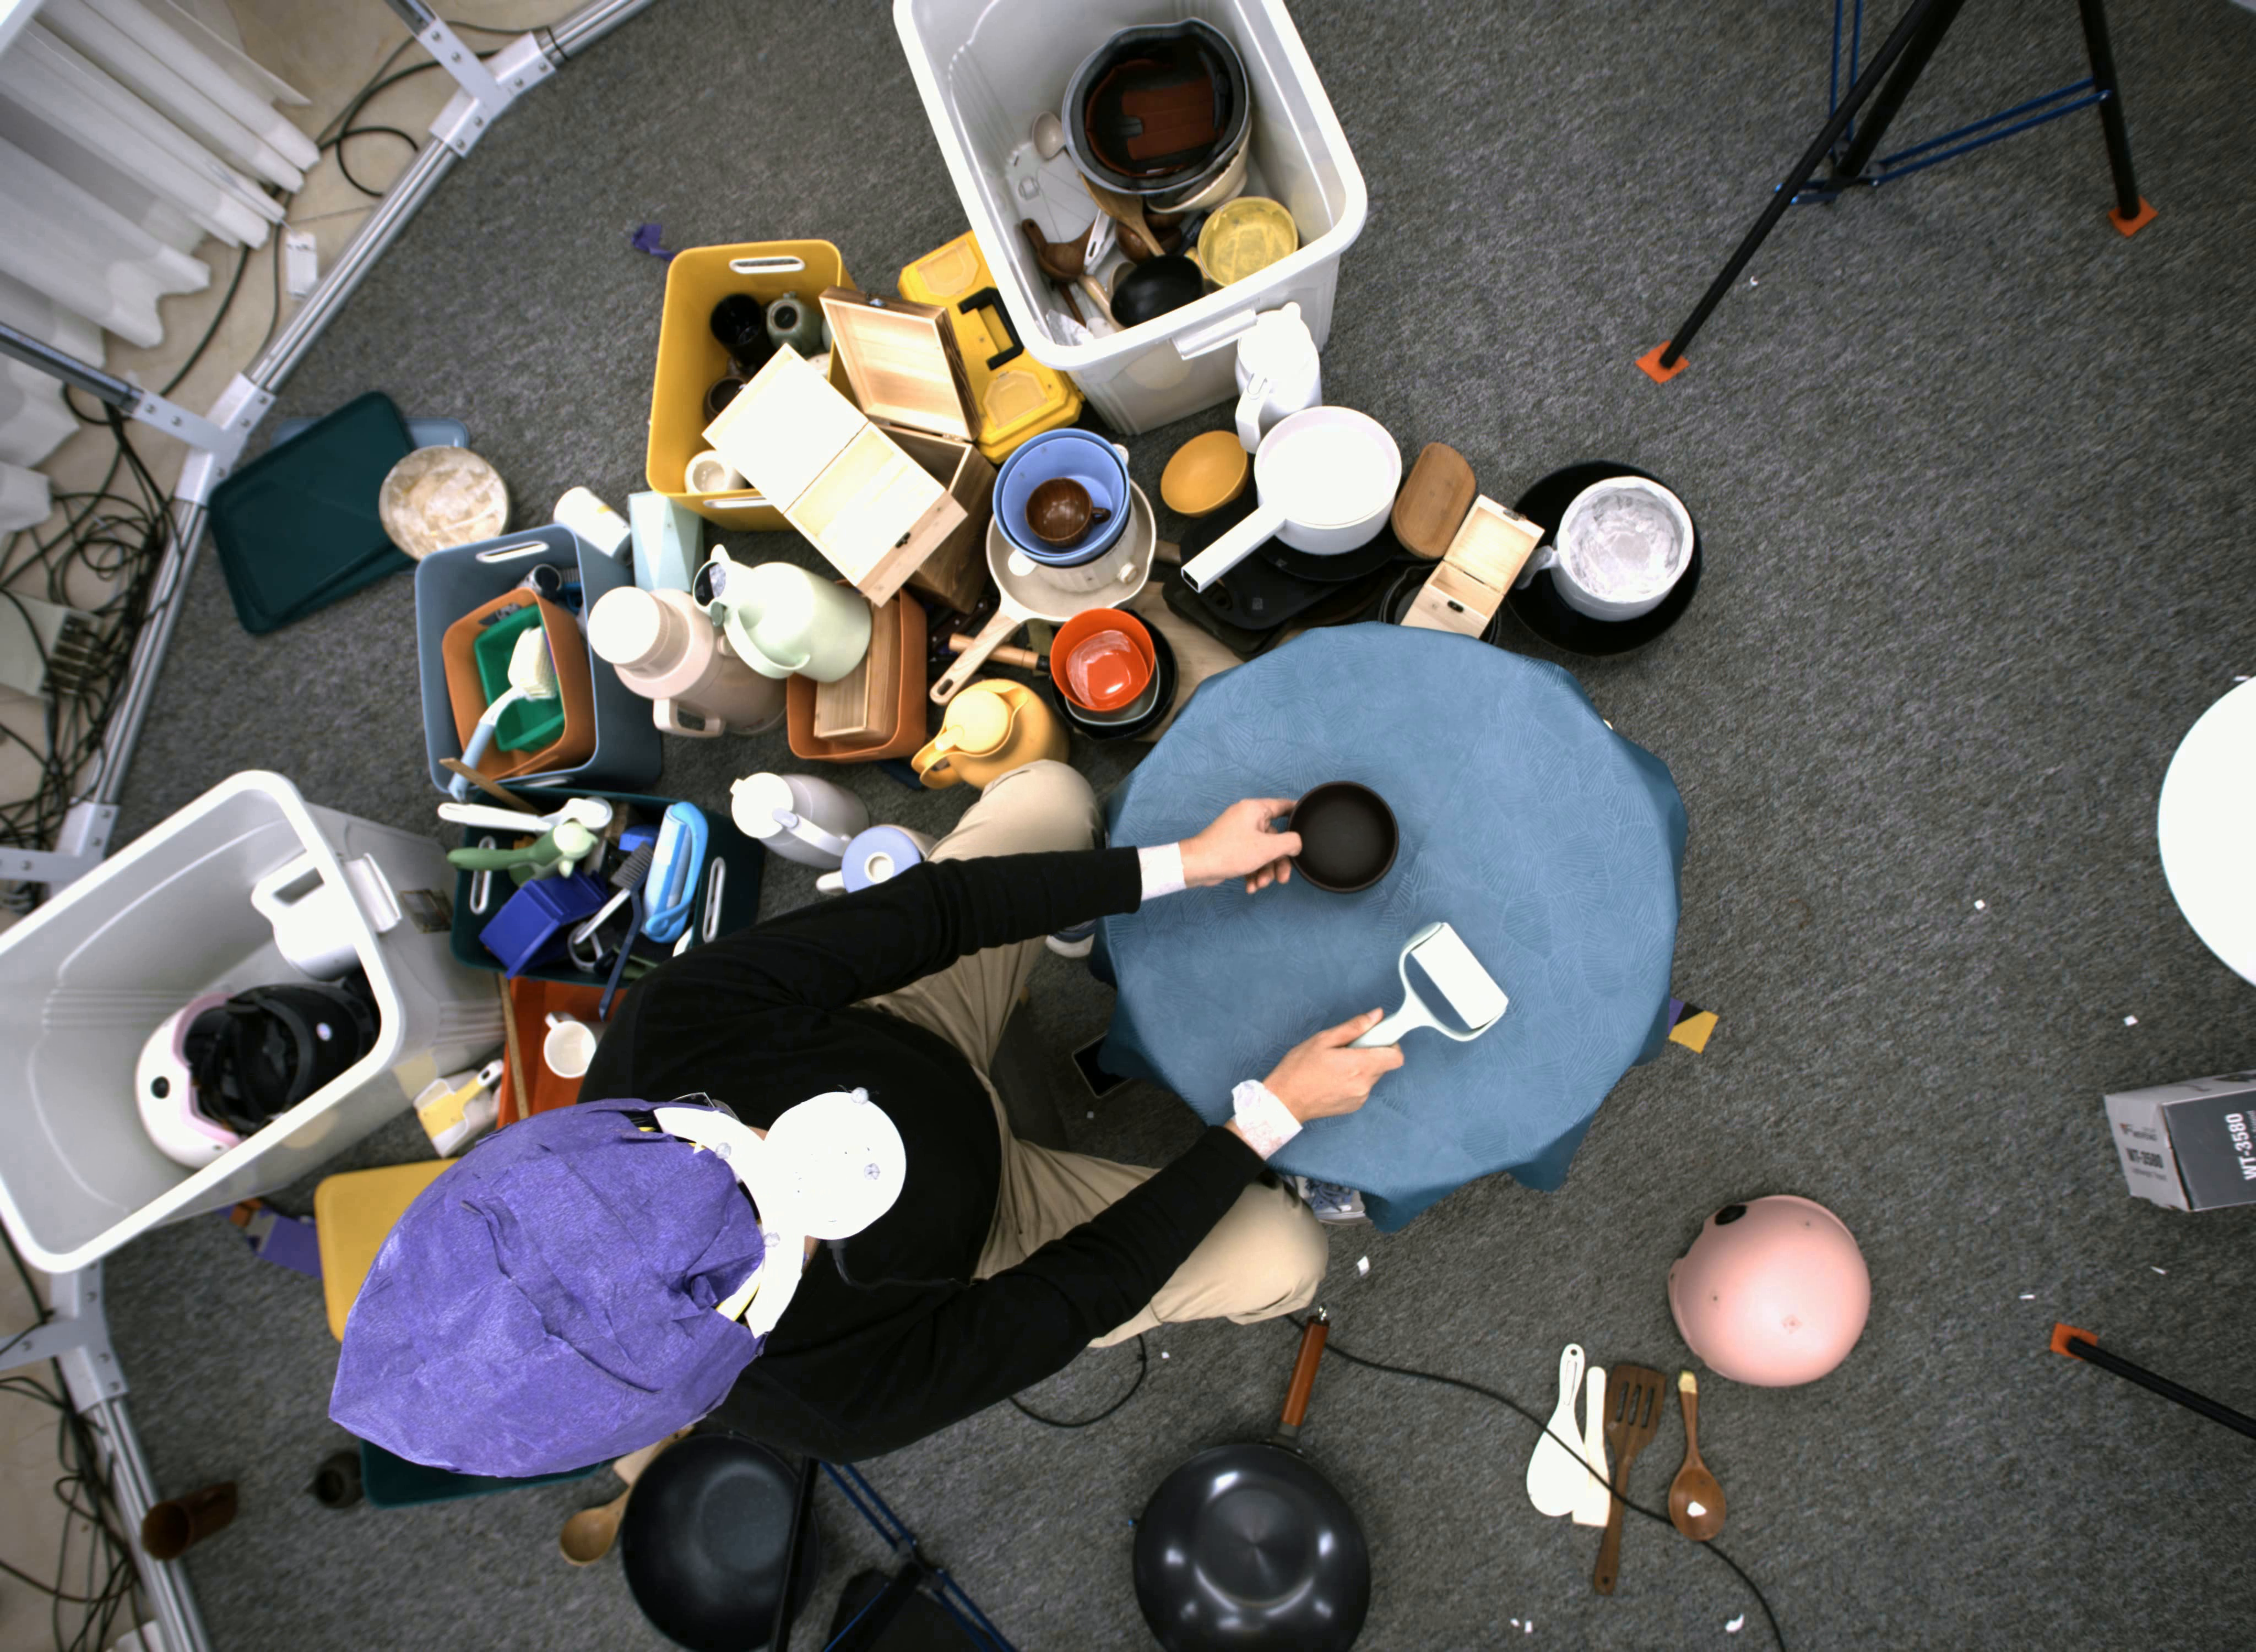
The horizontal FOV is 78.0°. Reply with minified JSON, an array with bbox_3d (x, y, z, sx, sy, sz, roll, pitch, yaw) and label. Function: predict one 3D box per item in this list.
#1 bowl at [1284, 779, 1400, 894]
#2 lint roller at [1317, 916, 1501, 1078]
[{"bbox_3d":[0.223,0.012,1.436,0.118,0.070,0.117,-1,87,10],"label":"bowl"},{"bbox_3d":[0.268,0.188,1.394,0.199,0.048,0.117,-39,92,9],"label":"lint roller"}]
